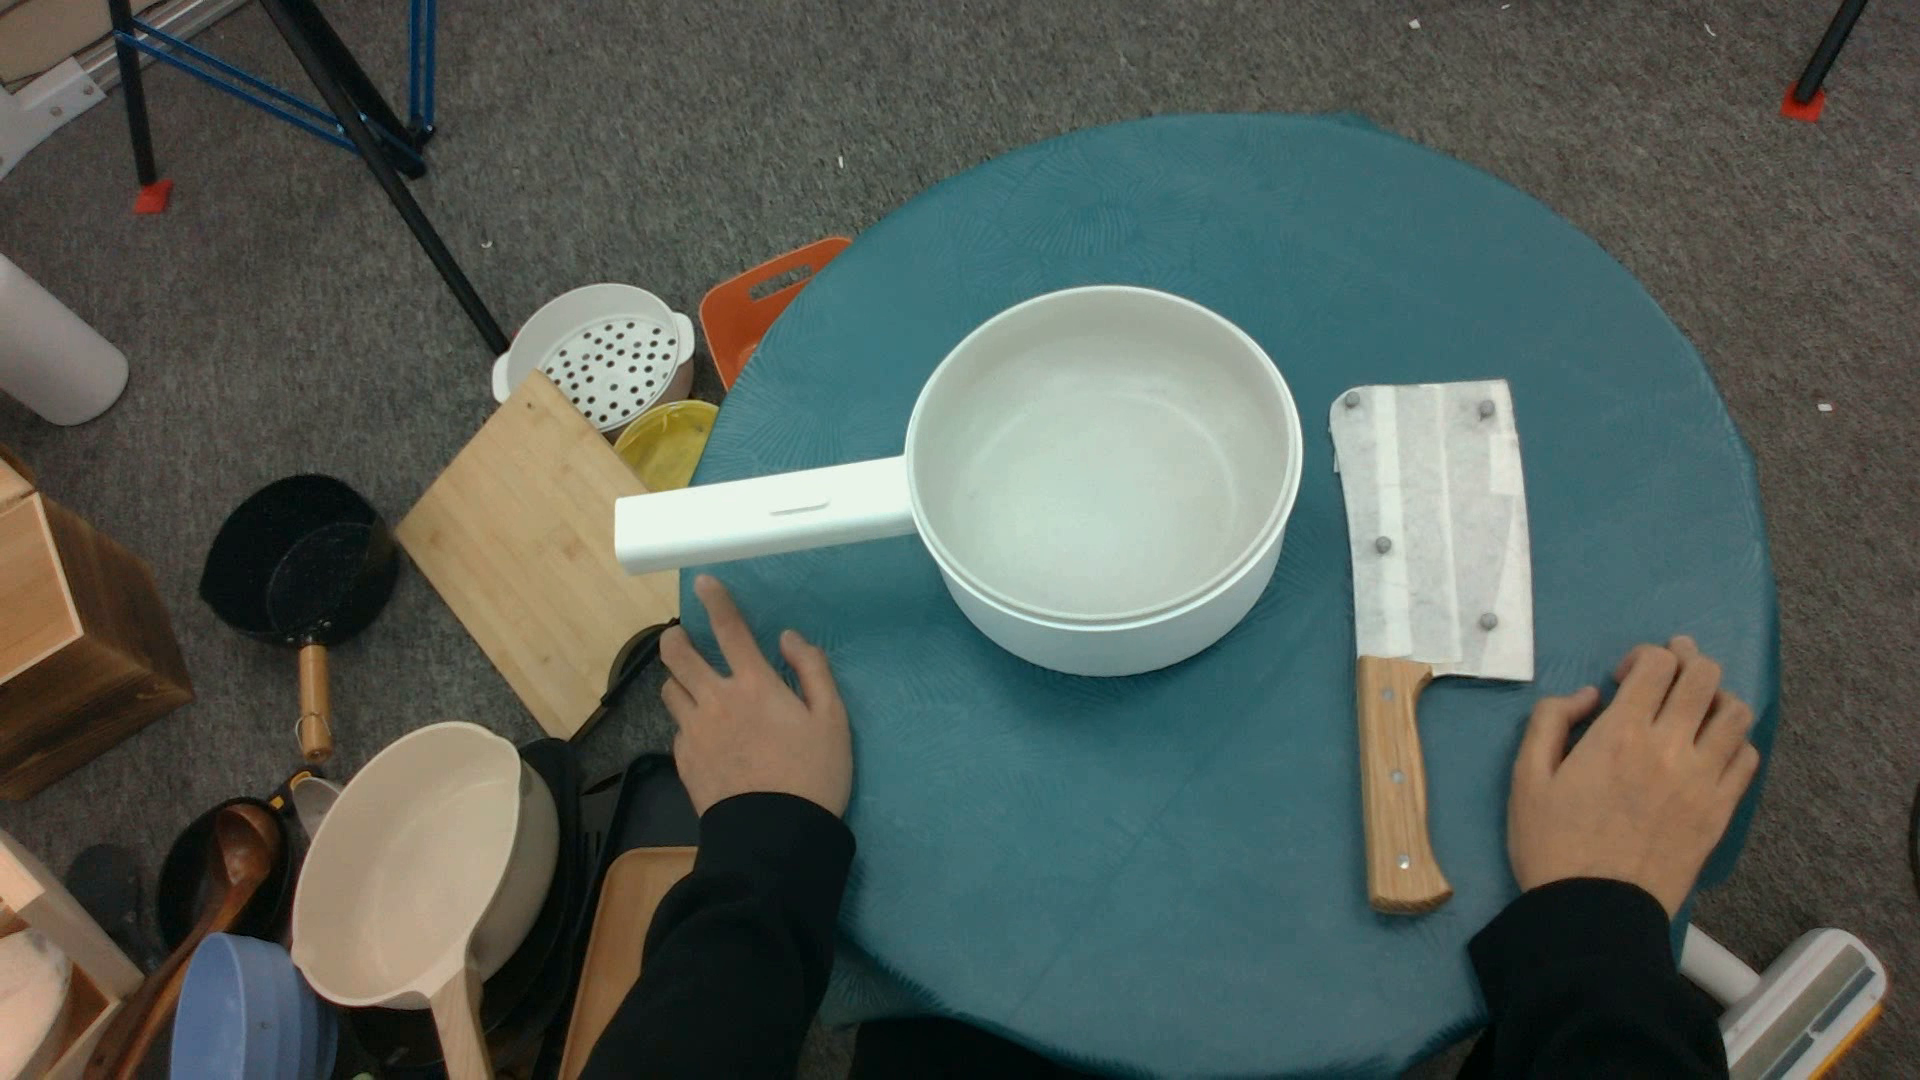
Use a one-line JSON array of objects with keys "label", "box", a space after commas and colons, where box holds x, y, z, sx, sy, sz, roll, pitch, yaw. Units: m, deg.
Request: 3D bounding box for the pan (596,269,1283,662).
[{"label": "pan", "box": [-0.009, -0.023, 0.741, 0.354, 0.102, 0.202, -9, 64, 4]}]

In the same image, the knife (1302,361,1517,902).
[{"label": "knife", "box": [0.233, 0.032, 0.723, 0.114, 0.021, 0.316, 5, 62, 10]}]
